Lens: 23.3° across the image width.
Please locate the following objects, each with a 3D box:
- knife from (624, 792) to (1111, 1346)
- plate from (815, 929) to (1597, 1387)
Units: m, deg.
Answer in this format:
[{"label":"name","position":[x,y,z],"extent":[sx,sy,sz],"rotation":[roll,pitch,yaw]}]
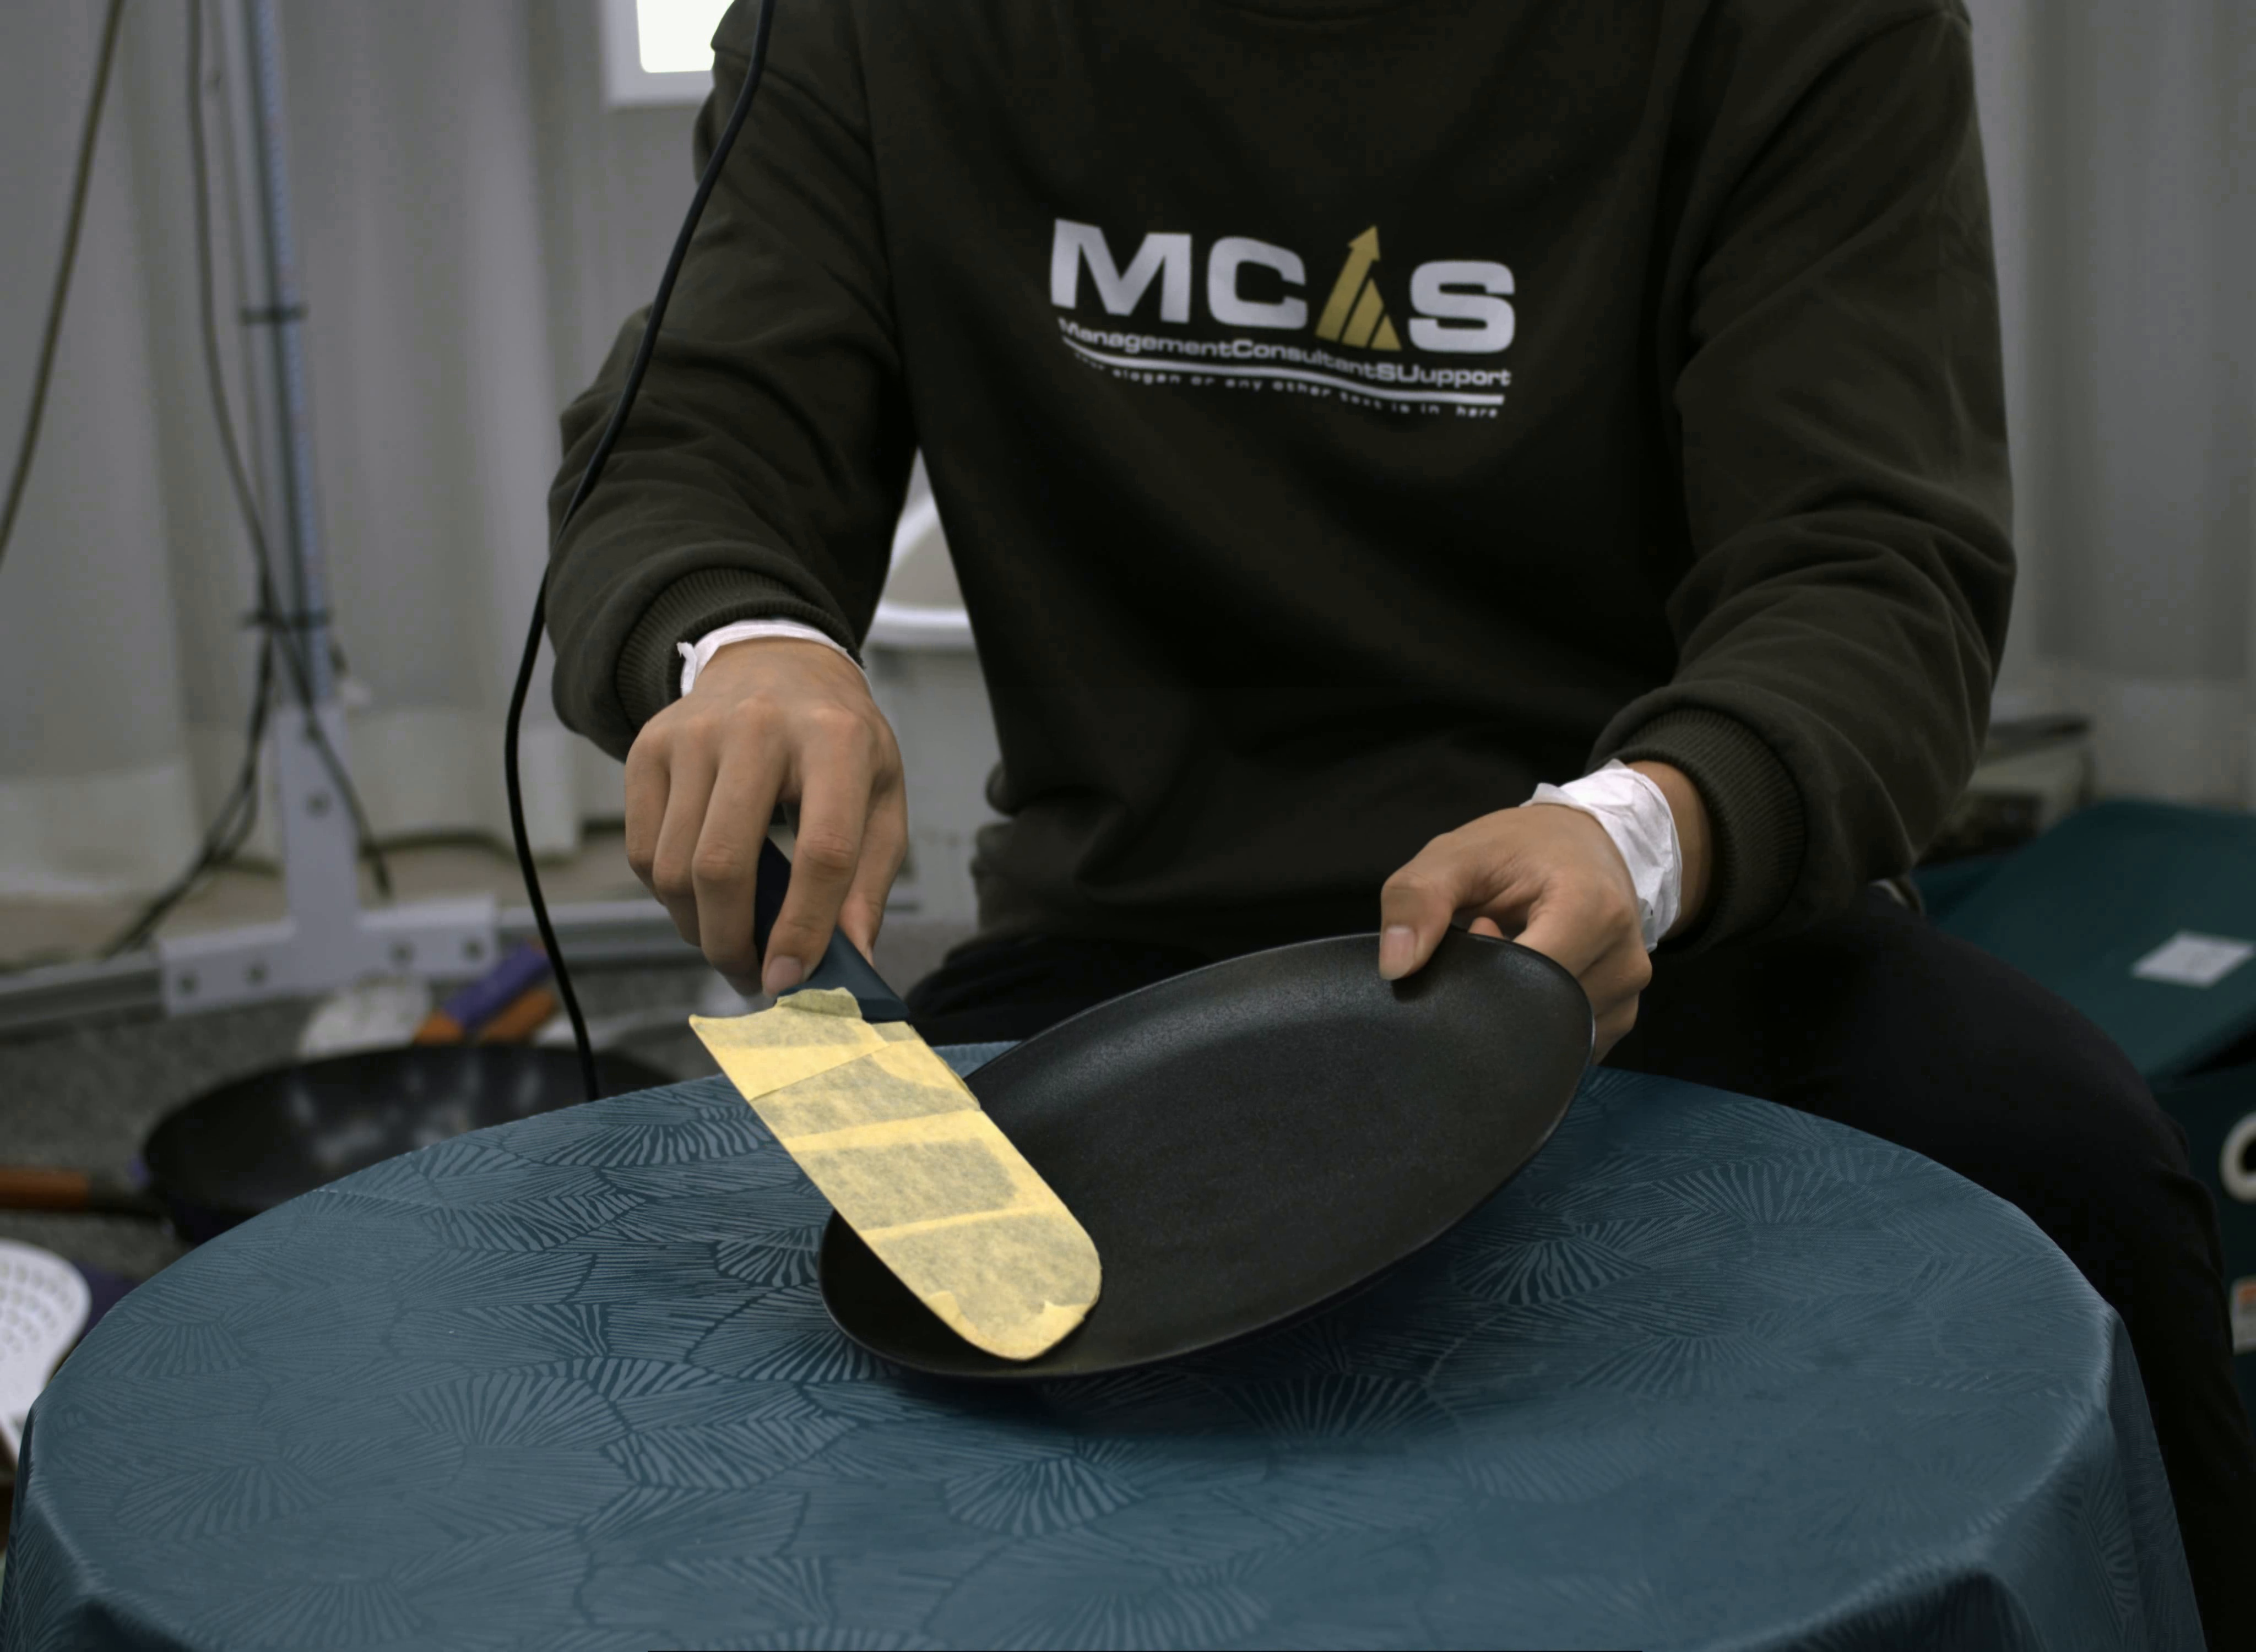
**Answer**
[{"label":"knife","position":[-0.090,0.071,1.639],"extent":[0.080,0.027,0.293],"rotation":[-1,31,-34]},{"label":"plate","position":[0.024,0.102,1.610],"extent":[0.244,0.023,0.247],"rotation":[-18,23,7]}]
